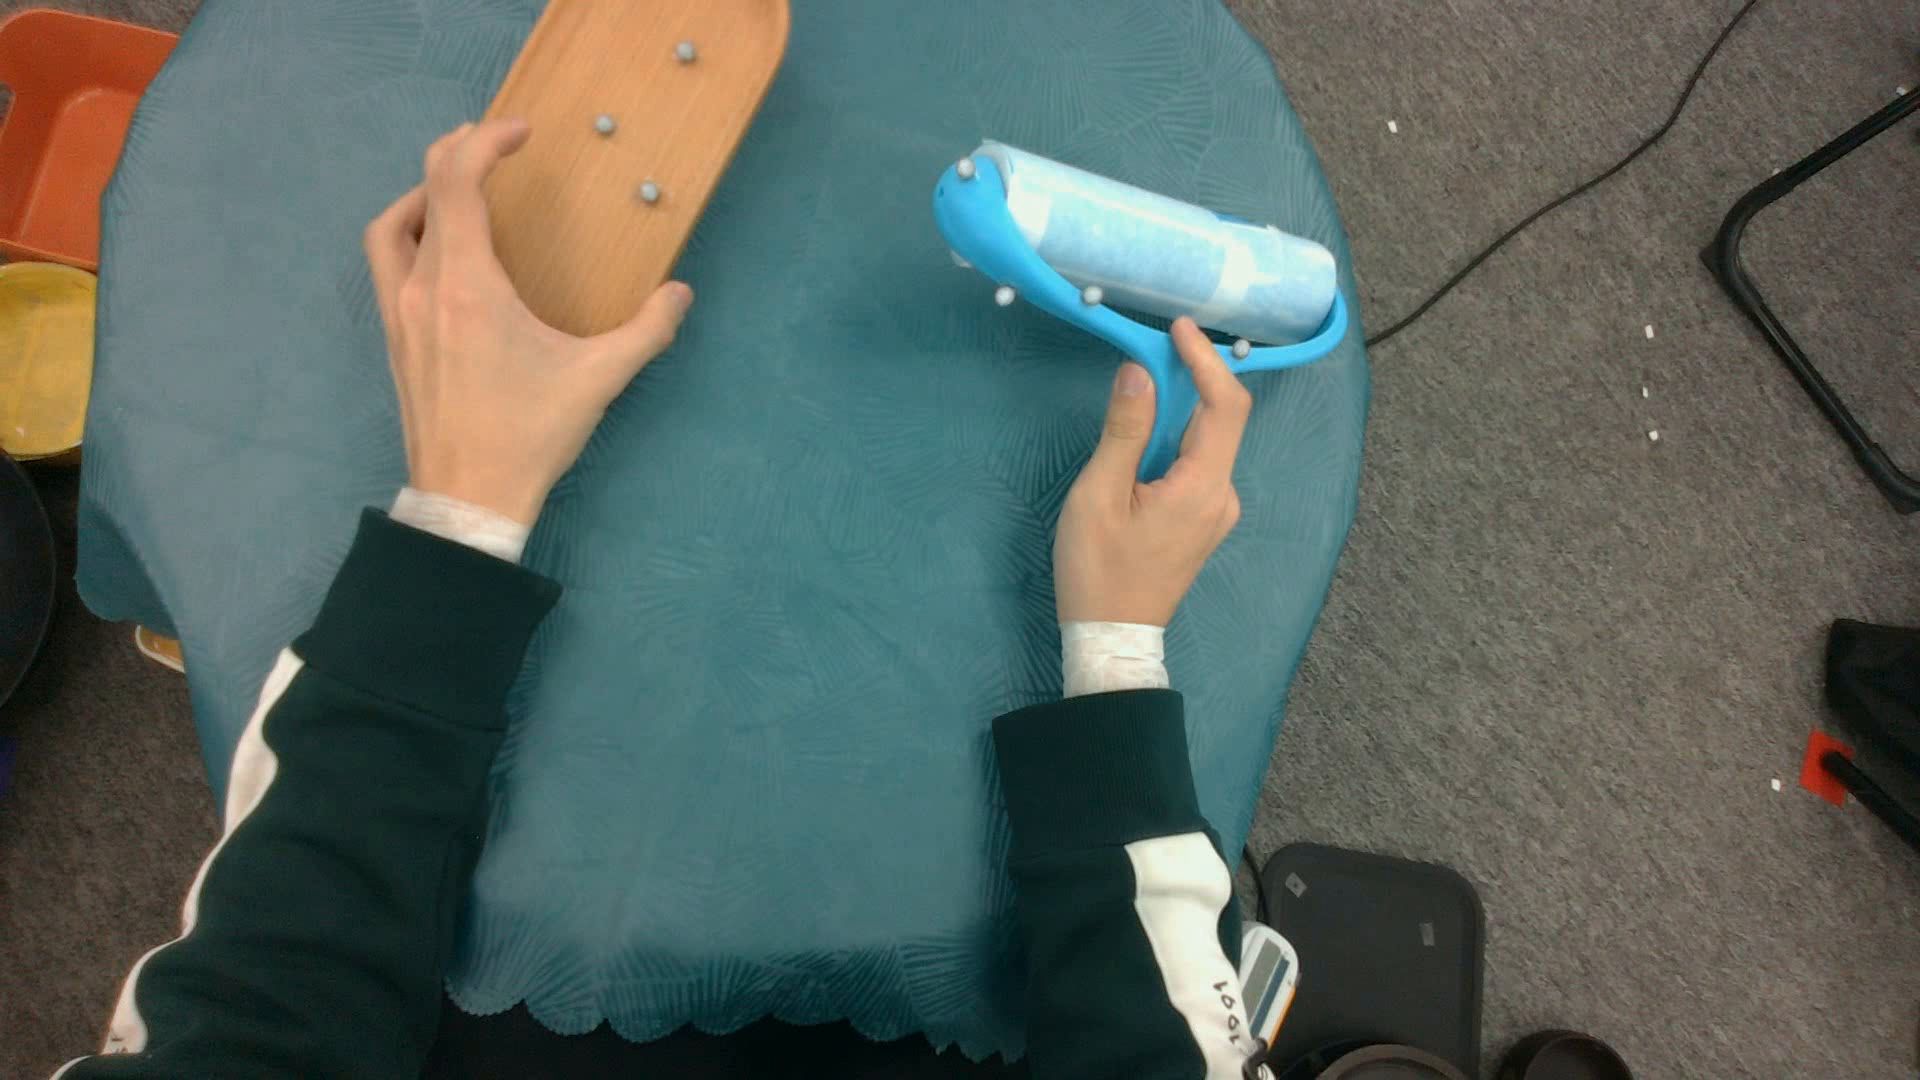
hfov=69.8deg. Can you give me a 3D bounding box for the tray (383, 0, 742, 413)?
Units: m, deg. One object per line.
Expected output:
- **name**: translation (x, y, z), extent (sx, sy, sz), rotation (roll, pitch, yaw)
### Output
- **tray**: translation (-0.174, -0.166, 0.614), extent (0.101, 0.020, 0.231), rotation (23, 85, -3)

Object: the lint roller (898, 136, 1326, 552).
- **lint roller**: translation (0.077, -0.086, 0.646), extent (0.229, 0.068, 0.180), rotation (2, 84, -30)
